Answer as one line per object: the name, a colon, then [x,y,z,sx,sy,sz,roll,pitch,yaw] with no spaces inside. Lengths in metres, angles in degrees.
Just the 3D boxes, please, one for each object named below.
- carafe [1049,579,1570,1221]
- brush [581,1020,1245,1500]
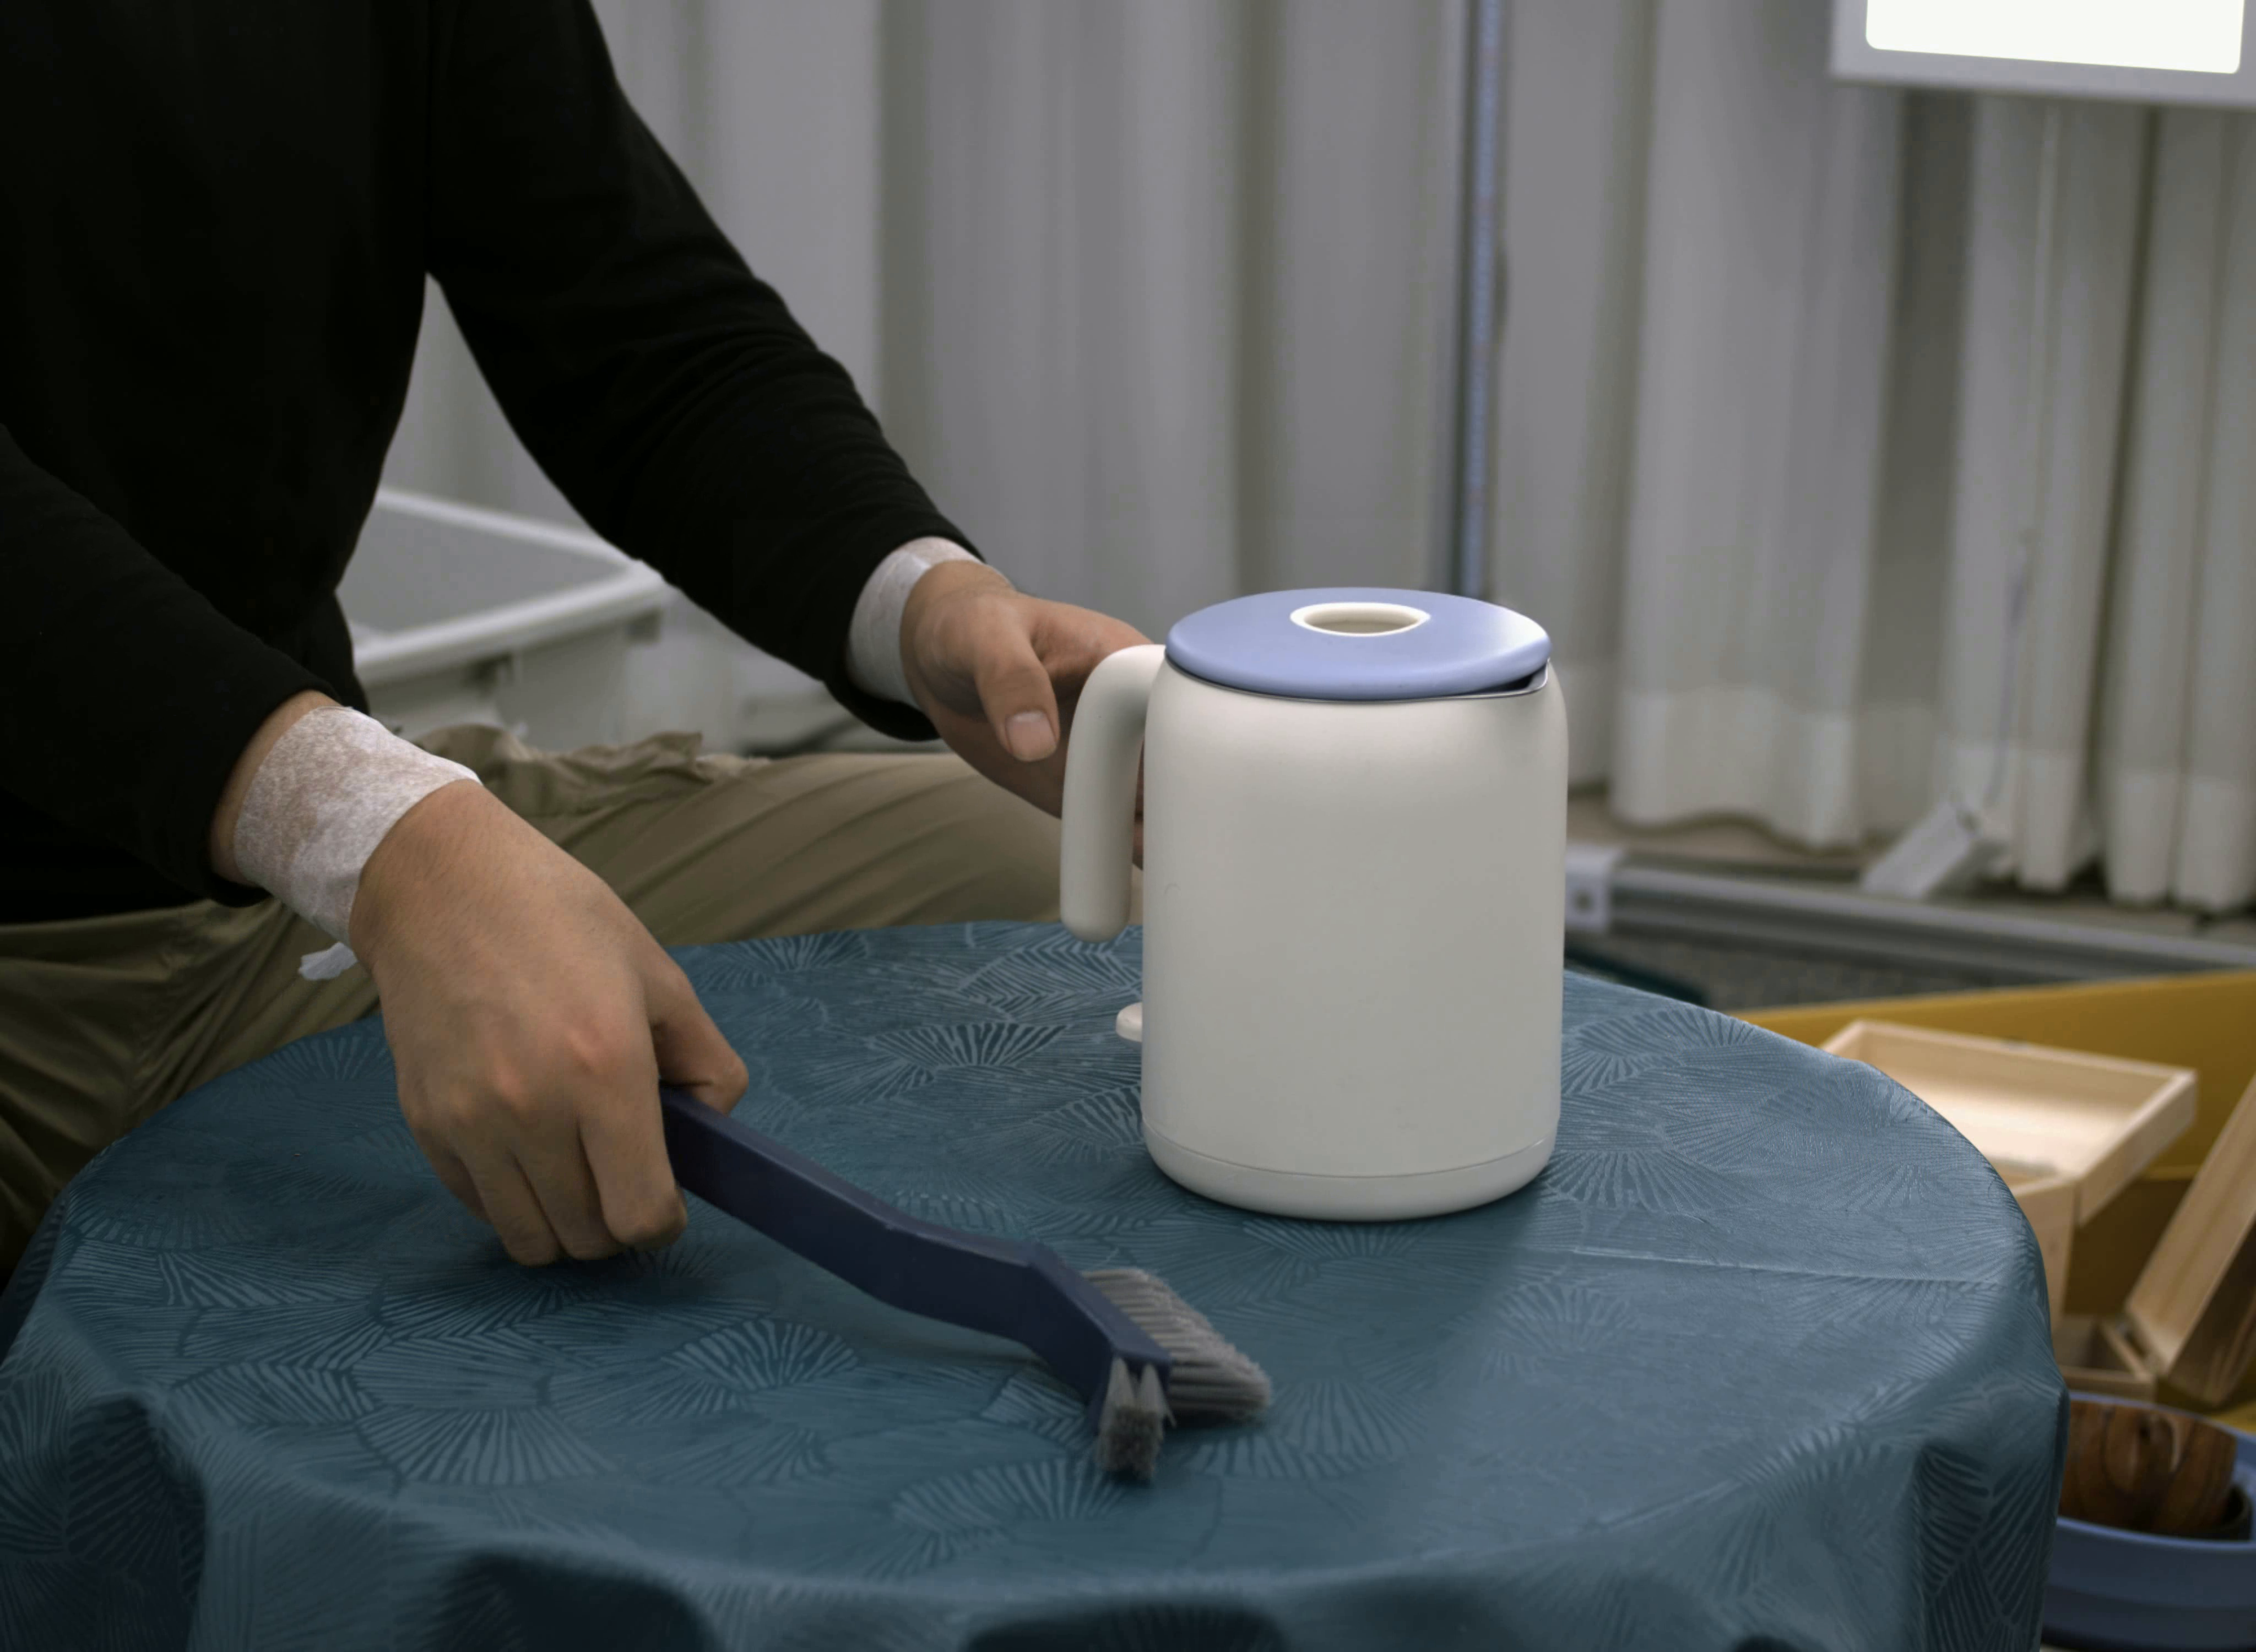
carafe: [0.051,0.018,1.641,0.188,0.184,0.133,12,19,38]
brush: [-0.080,0.118,1.494,0.269,0.034,0.096,21,24,35]
